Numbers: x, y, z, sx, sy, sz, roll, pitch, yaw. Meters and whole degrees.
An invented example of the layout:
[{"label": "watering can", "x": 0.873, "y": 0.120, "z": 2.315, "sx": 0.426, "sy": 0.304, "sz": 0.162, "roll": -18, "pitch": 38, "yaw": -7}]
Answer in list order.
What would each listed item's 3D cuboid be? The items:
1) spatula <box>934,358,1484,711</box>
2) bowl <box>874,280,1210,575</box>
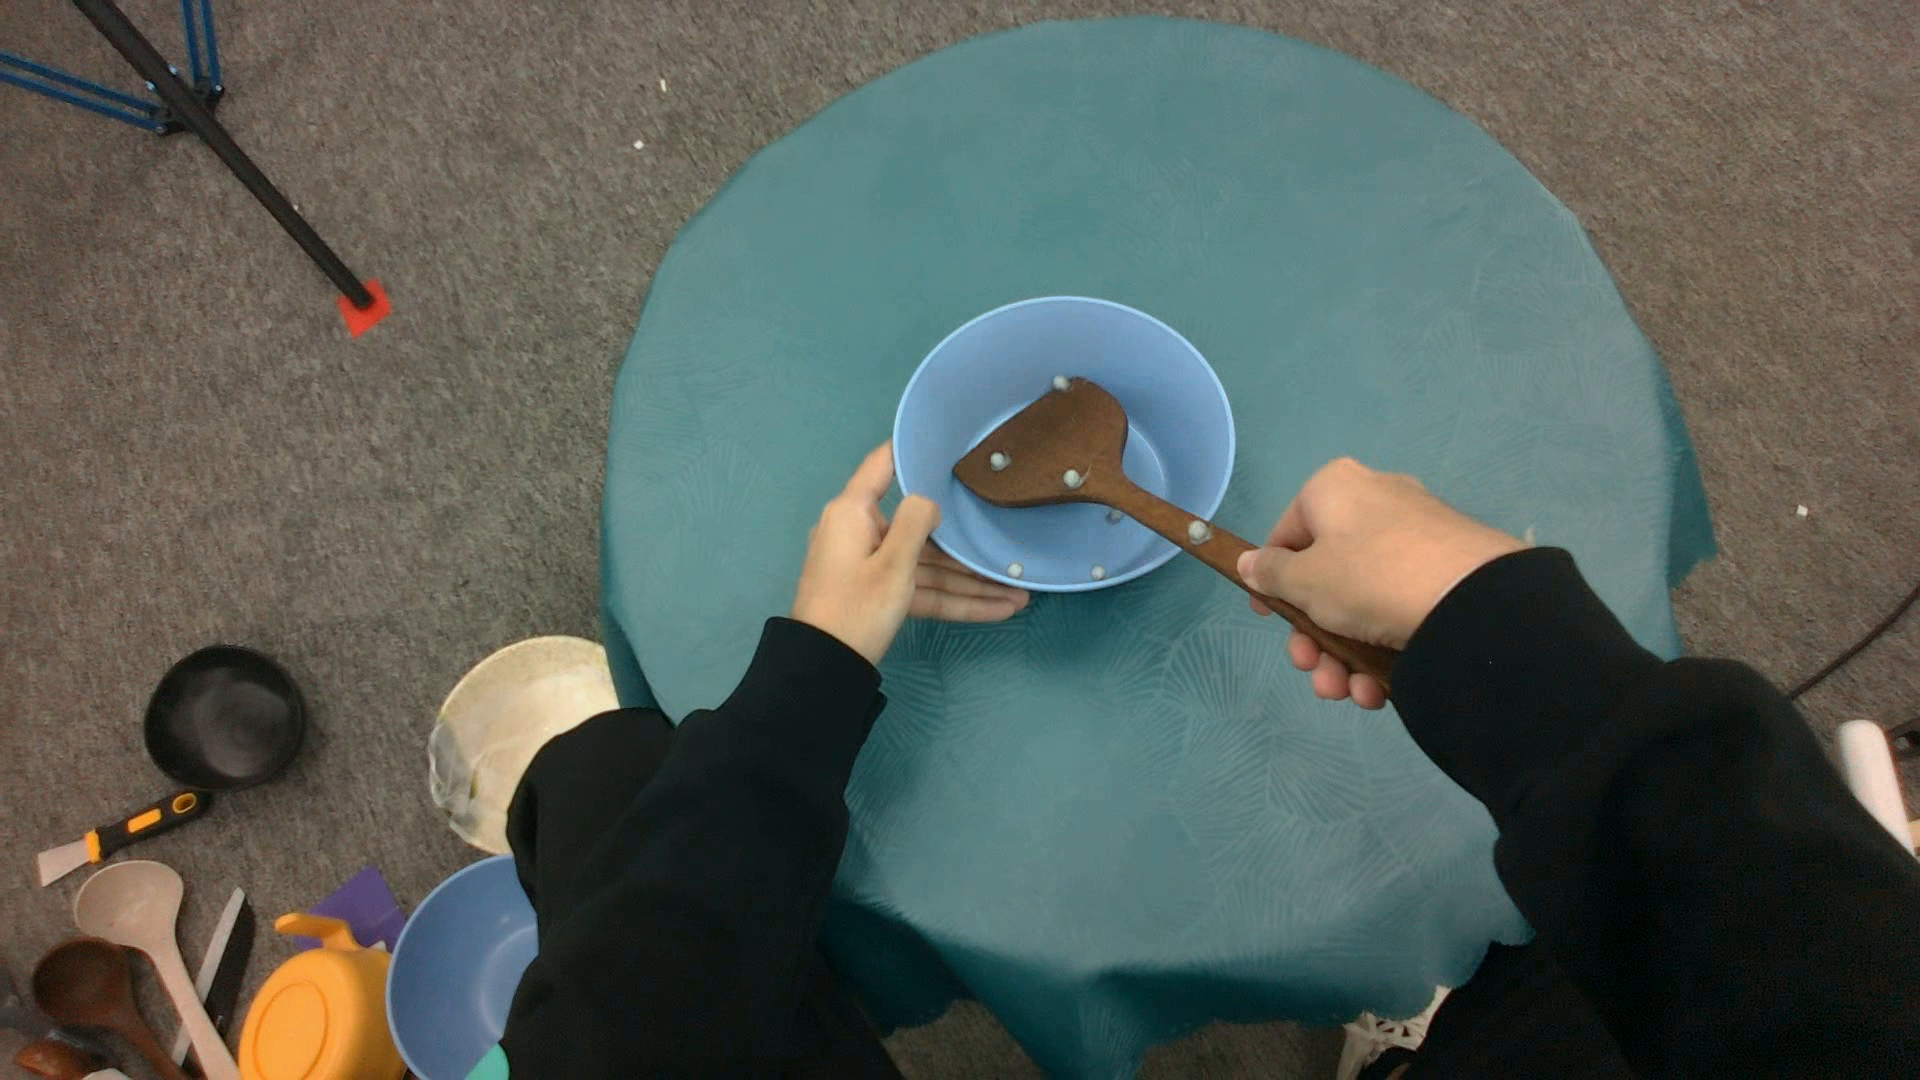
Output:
[{"label": "spatula", "x": 0.093, "y": -0.014, "z": 0.618, "sx": 0.096, "sy": 0.016, "sz": 0.386, "roll": -37, "pitch": 29, "yaw": -8}, {"label": "bowl", "x": 0.042, "y": -0.049, "z": 0.741, "sx": 0.176, "sy": 0.070, "sz": 0.176, "roll": 1, "pitch": 64, "yaw": -2}]
